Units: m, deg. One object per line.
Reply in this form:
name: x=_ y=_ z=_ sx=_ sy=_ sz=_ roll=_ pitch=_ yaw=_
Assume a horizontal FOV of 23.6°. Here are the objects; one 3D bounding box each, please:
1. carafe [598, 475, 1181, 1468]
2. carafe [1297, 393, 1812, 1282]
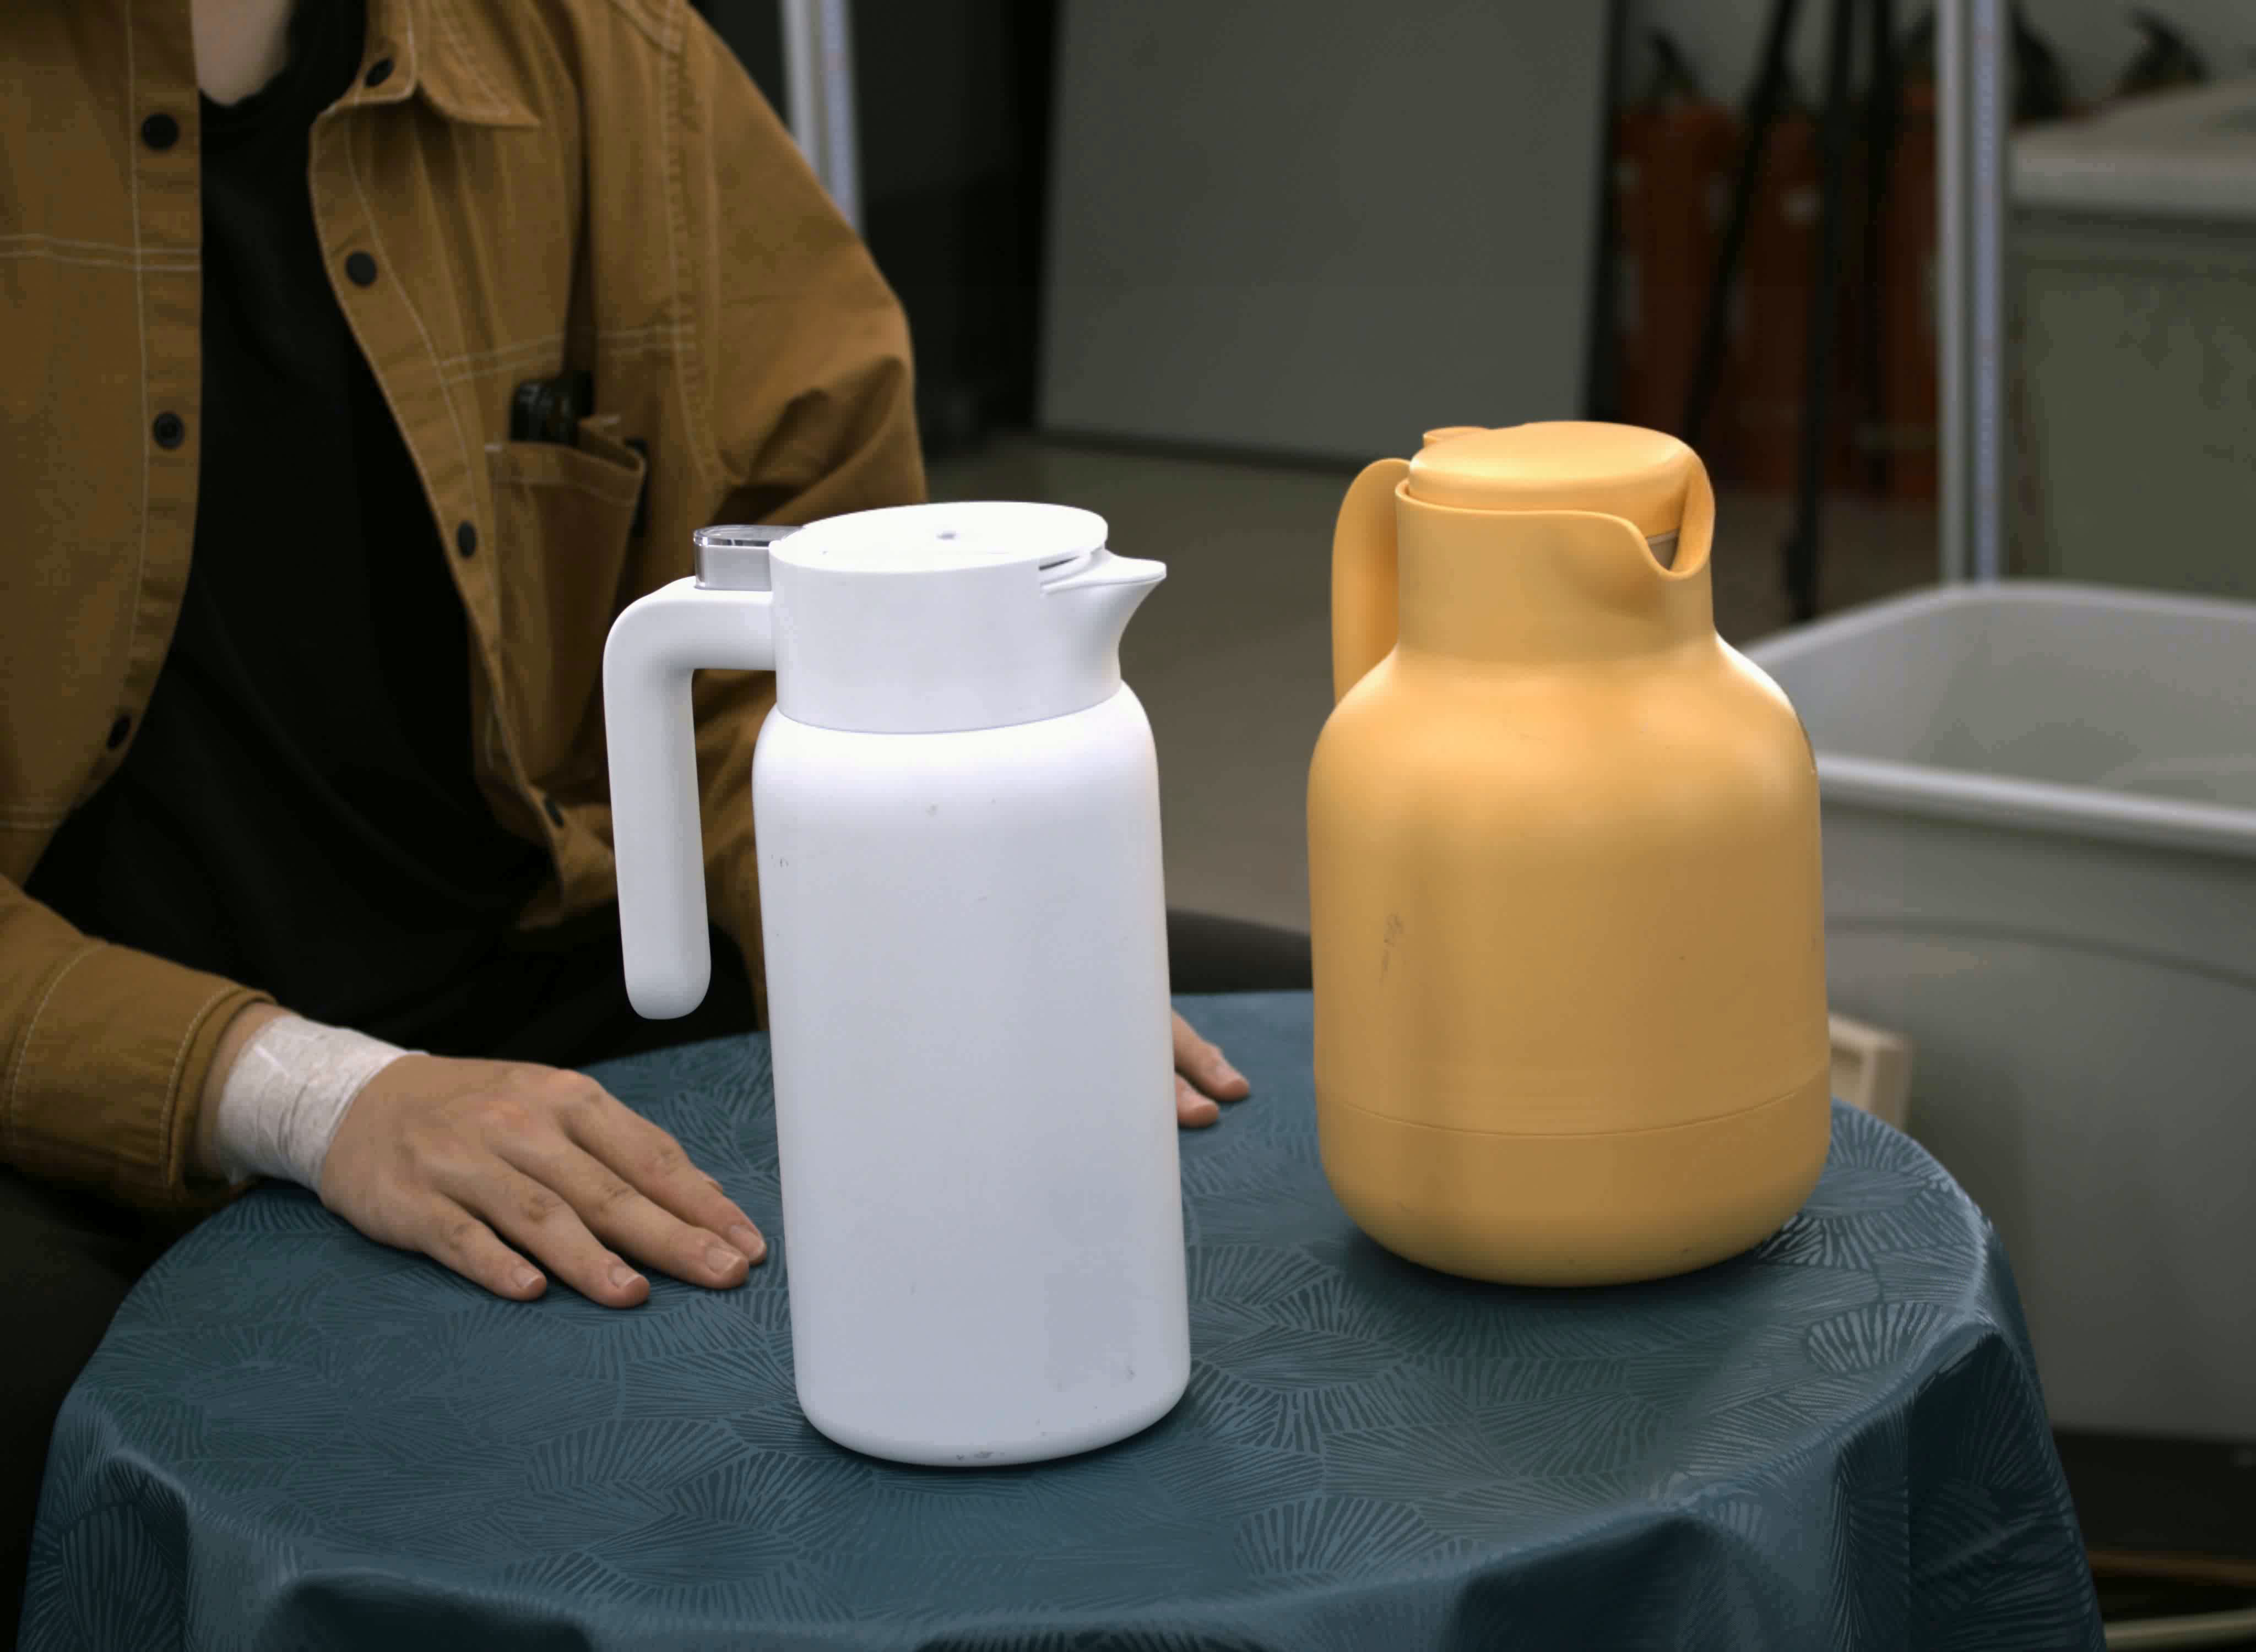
carafe: x=-0.065 y=0.041 z=1.557 sx=0.172 sy=0.272 sz=0.122 roll=1 pitch=16 yaw=21
carafe: x=0.125 y=-0.004 z=1.689 sx=0.160 sy=0.263 sz=0.204 roll=-6 pitch=15 yaw=-23
